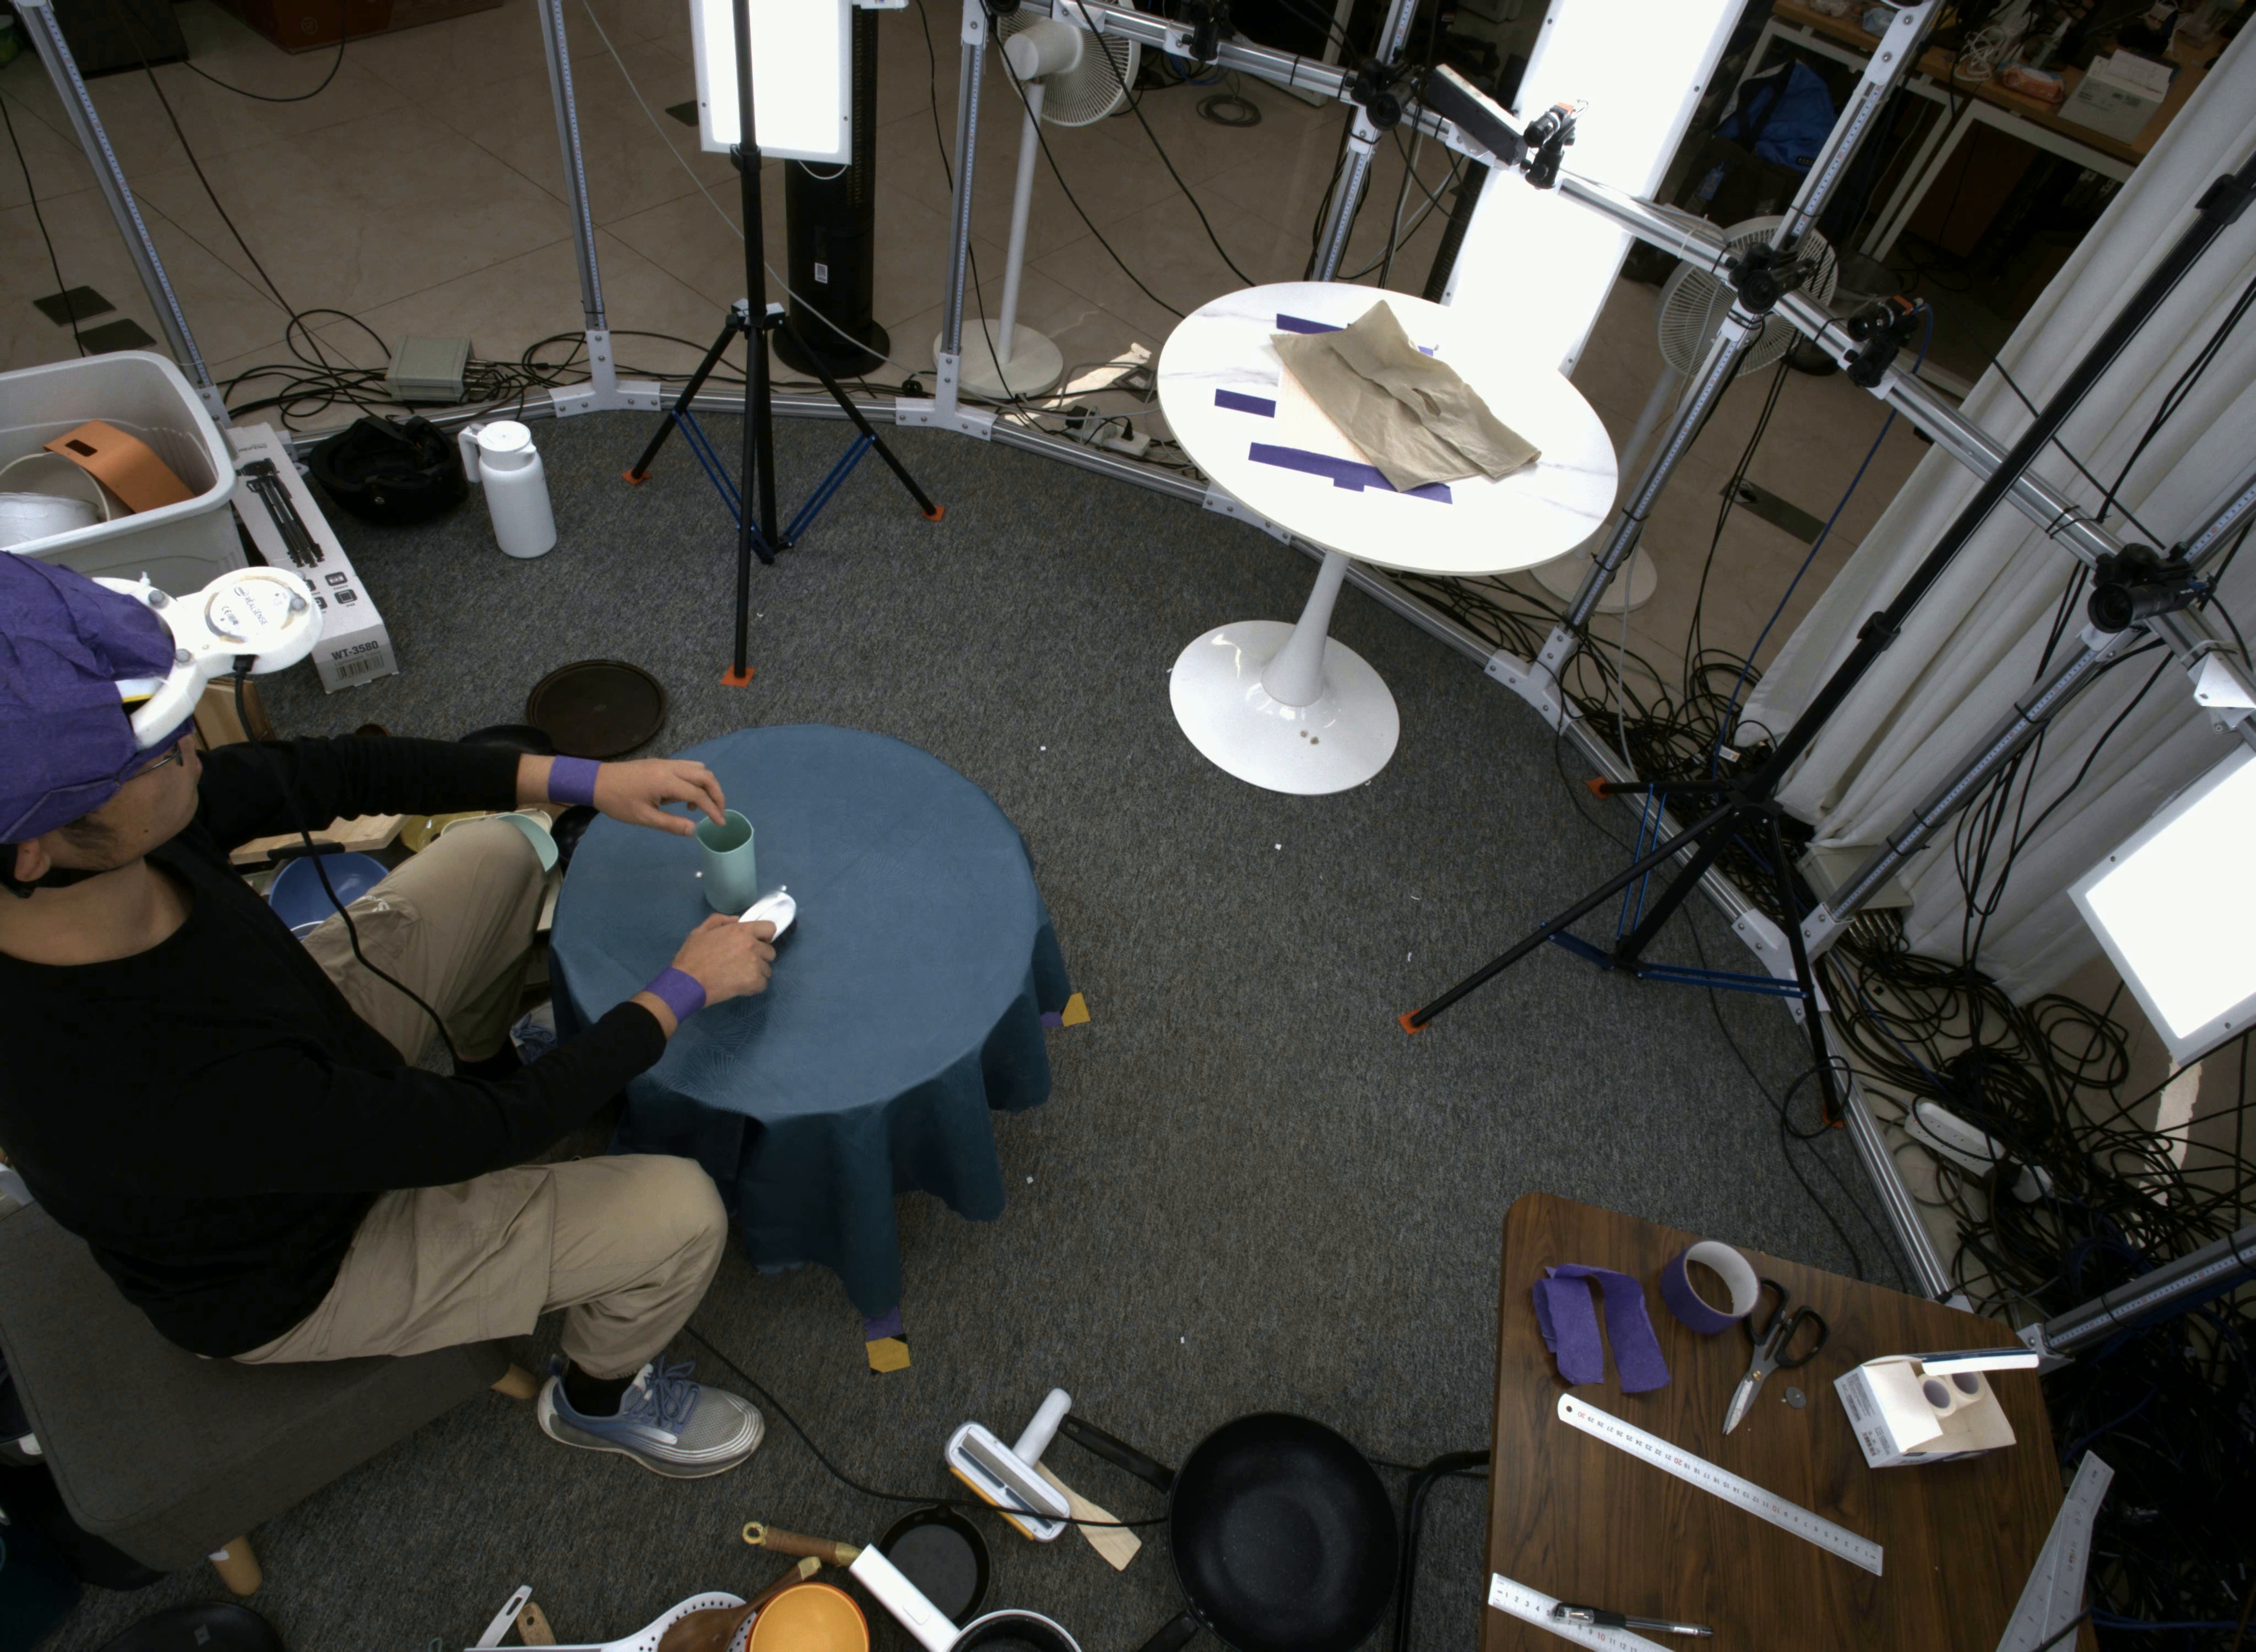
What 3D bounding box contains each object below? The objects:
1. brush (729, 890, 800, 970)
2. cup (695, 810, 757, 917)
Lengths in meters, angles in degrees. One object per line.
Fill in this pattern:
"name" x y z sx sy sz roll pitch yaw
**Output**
"brush" -0.447 0.118 1.585 0.049 0.074 0.099 33 51 15
"cup" -0.494 0.047 1.596 0.066 0.135 0.065 7 51 -7
